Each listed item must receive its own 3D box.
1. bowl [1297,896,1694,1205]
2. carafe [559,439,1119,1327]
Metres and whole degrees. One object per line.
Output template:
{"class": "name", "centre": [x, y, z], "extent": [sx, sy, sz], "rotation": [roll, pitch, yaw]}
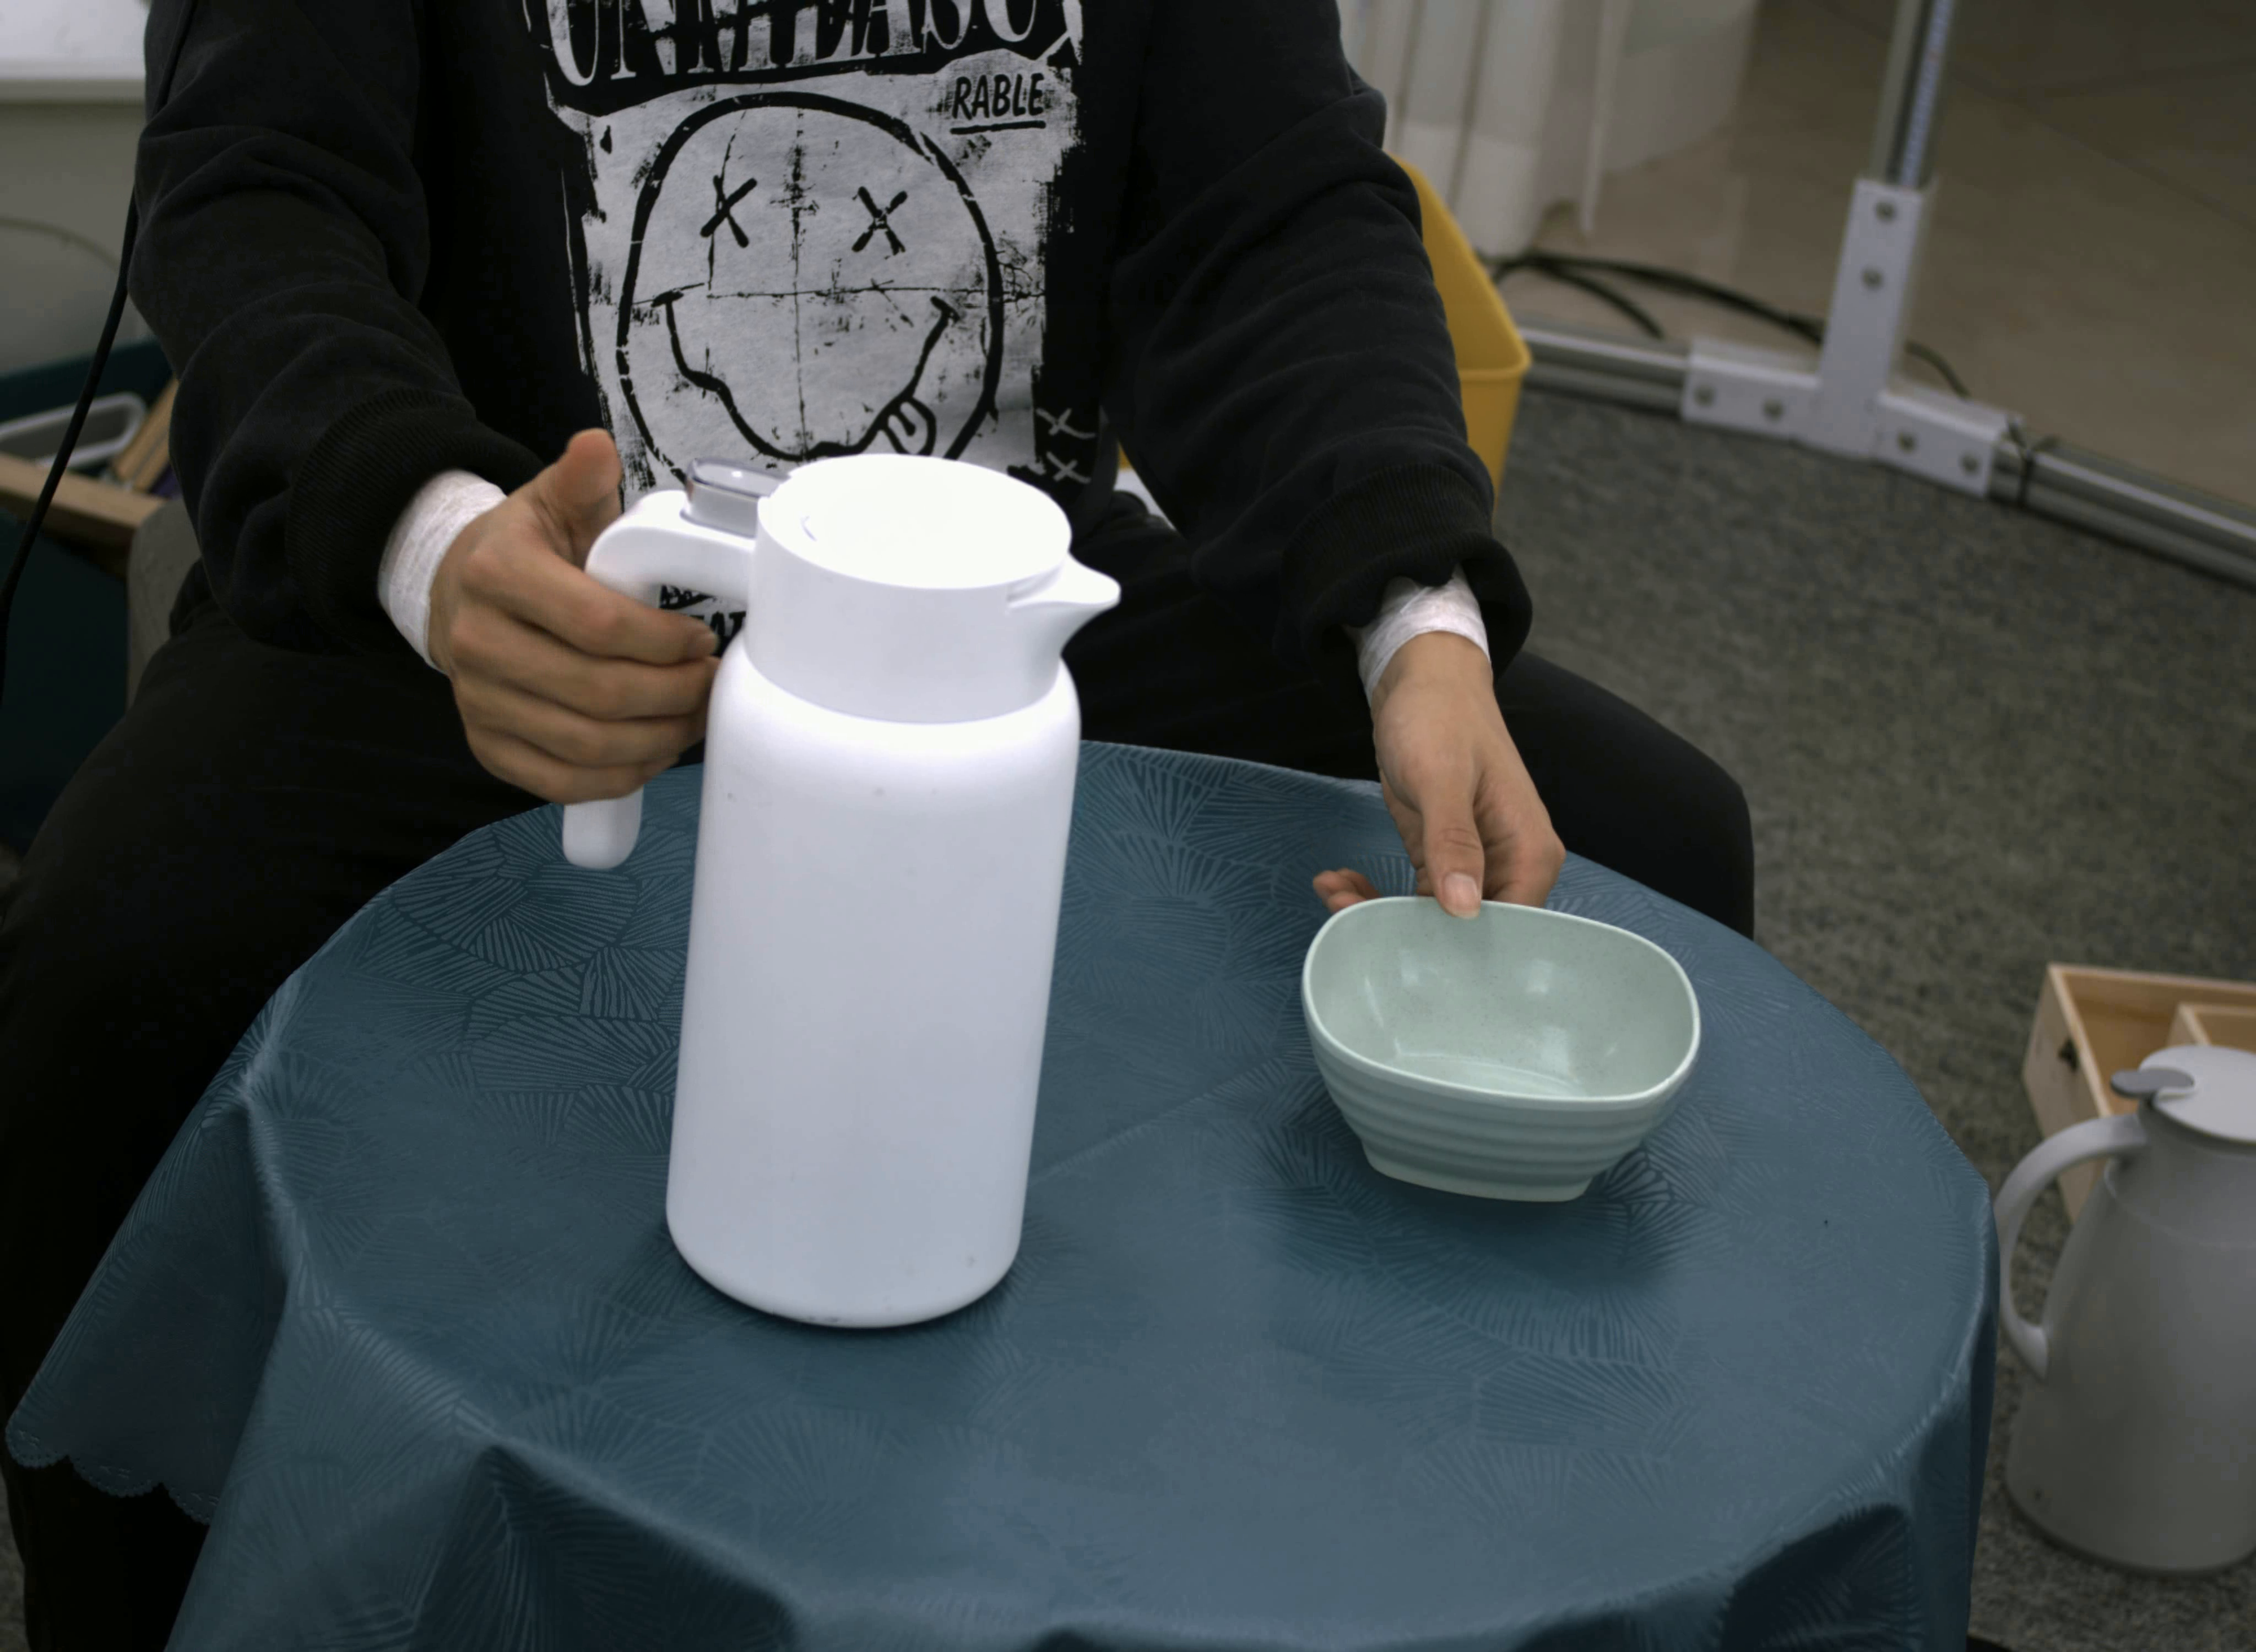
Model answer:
{"class": "bowl", "centre": [0.124, 0.084, 1.851], "extent": [0.151, 0.058, 0.152], "rotation": [6, 27, -3]}
{"class": "carafe", "centre": [-0.098, 0.017, 1.700], "extent": [0.173, 0.268, 0.124], "rotation": [14, 29, 13]}
